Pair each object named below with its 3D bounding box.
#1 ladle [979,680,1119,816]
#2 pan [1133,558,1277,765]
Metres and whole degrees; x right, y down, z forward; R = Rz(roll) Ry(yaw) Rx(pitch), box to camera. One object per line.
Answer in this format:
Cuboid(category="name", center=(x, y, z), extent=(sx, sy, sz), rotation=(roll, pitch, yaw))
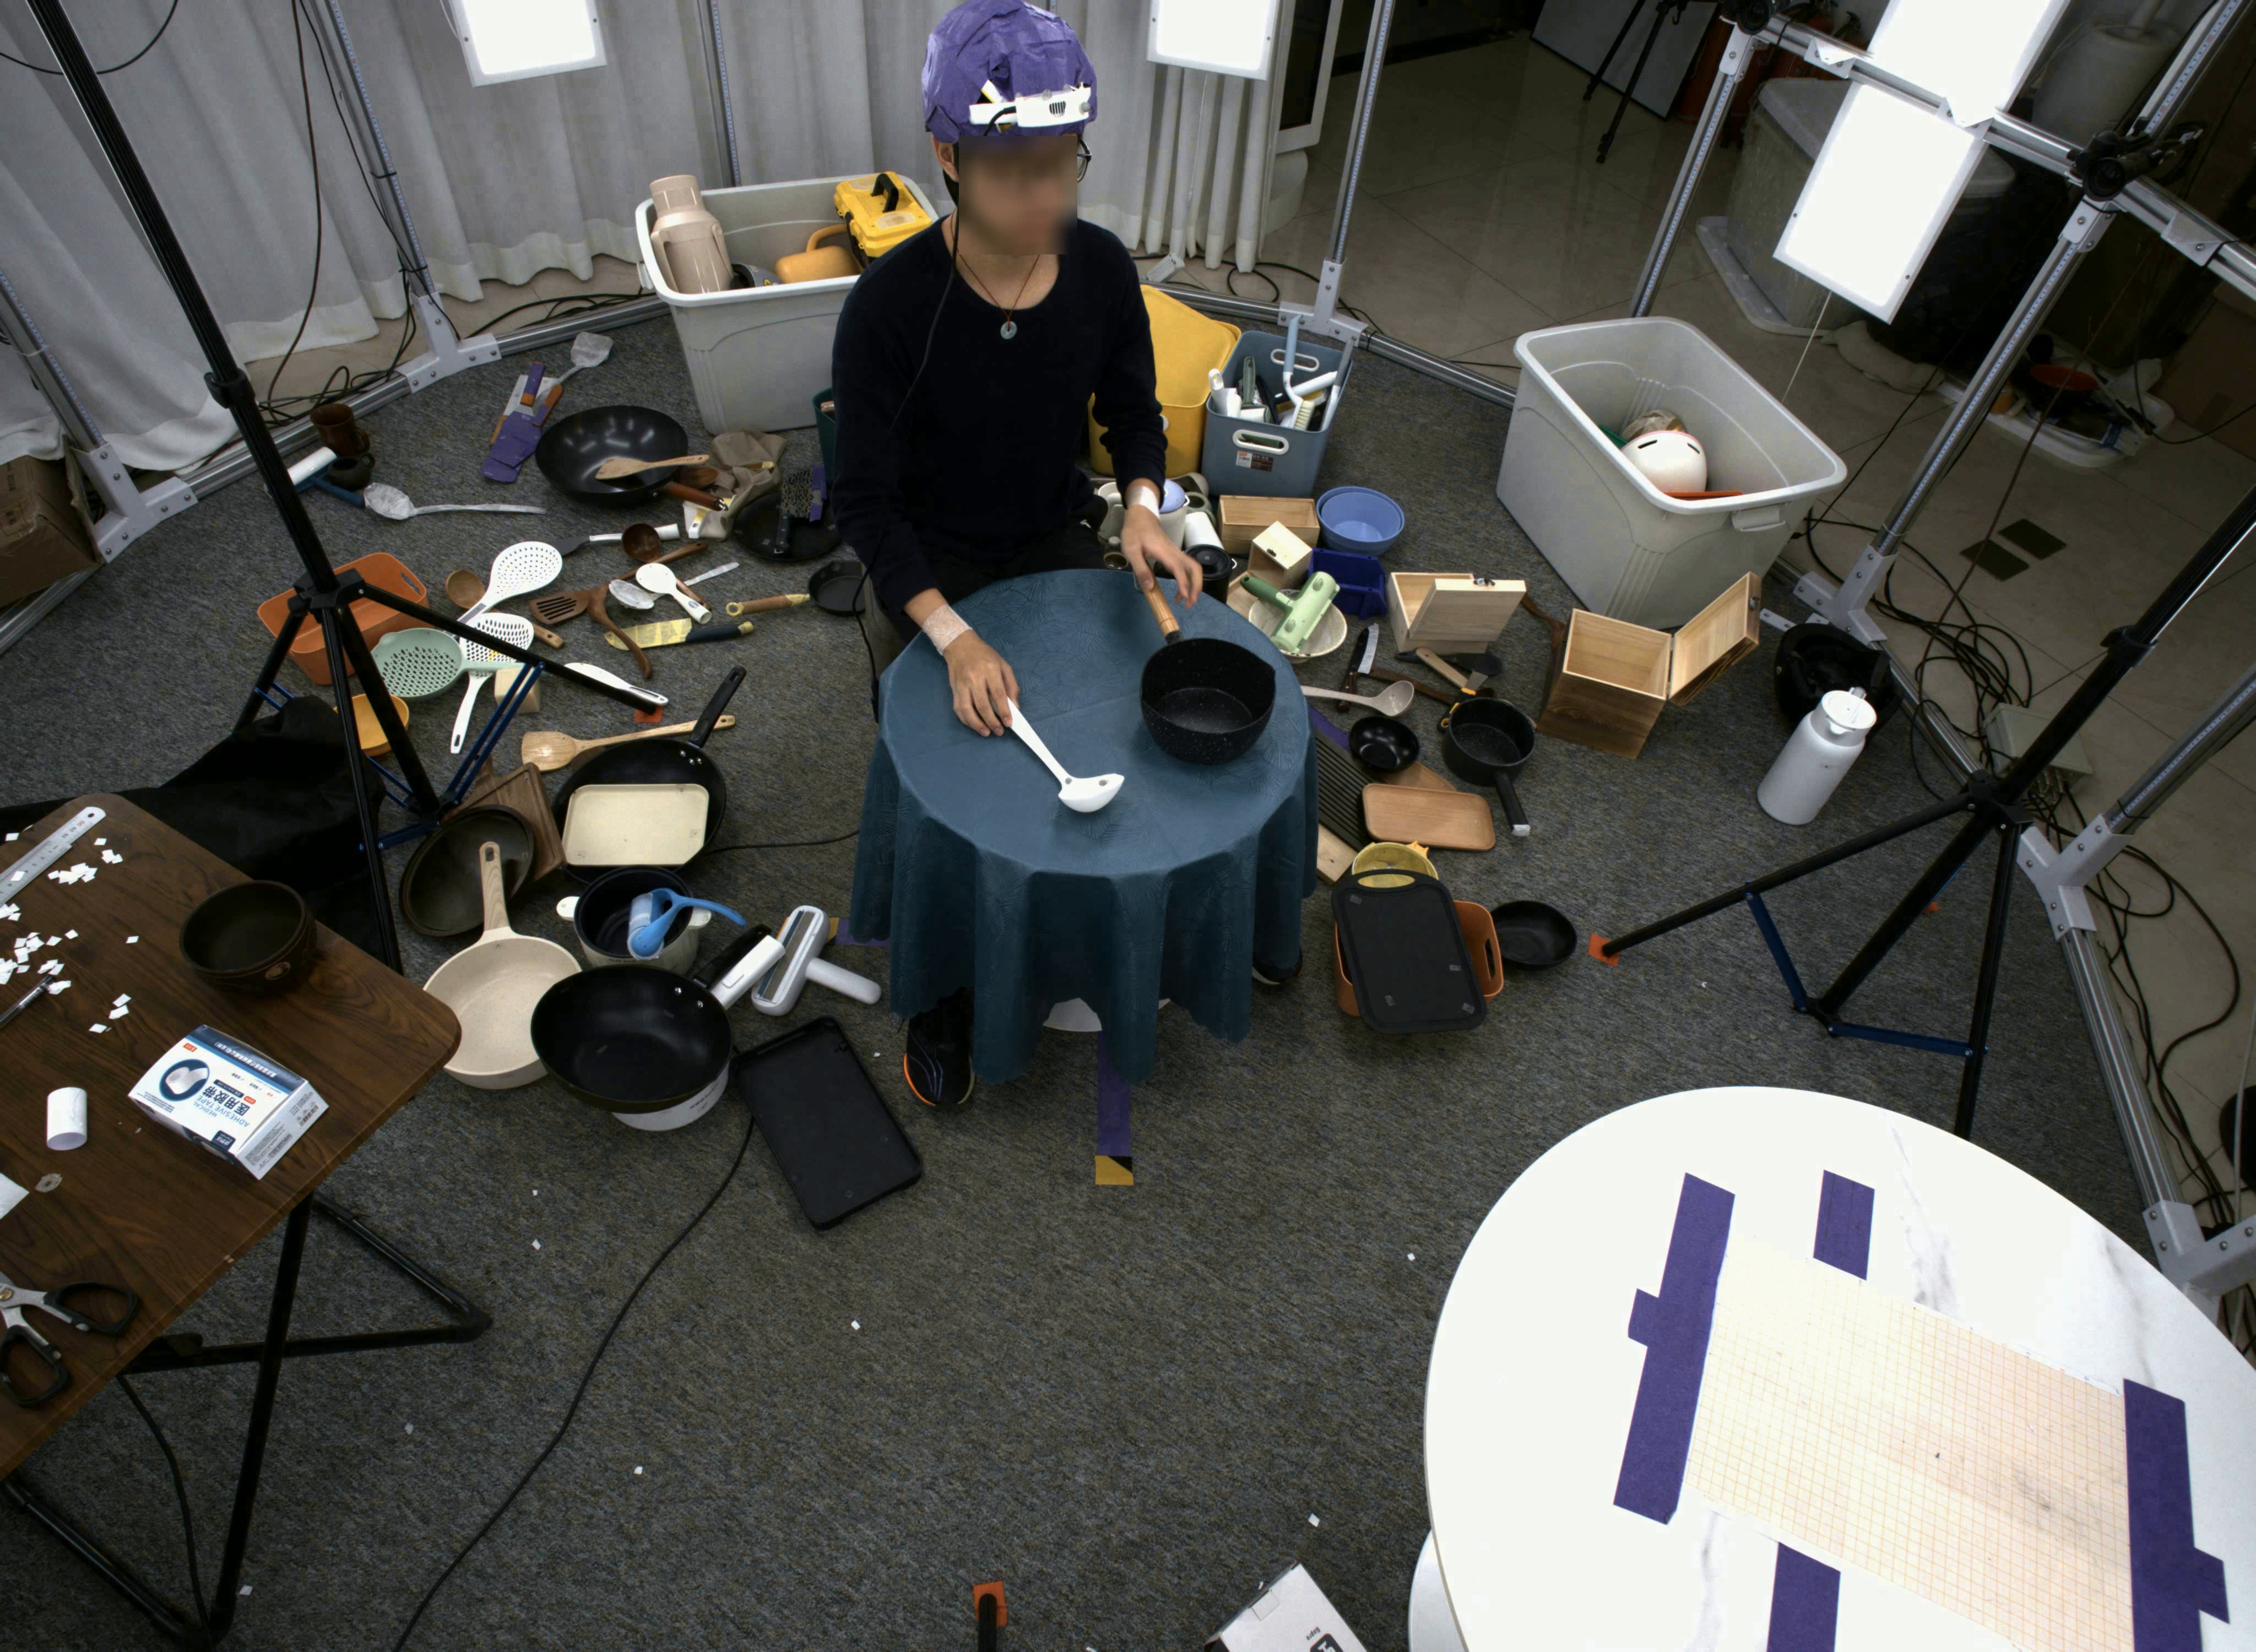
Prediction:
Cuboid(category="ladle", center=(-0.117, -0.113, 1.723), extent=(0.090, 0.068, 0.299), rotation=(-23, 52, -24))
Cuboid(category="pan", center=(0.076, -0.232, 1.805), extent=(0.207, 0.105, 0.351), rotation=(-16, 53, -16))
